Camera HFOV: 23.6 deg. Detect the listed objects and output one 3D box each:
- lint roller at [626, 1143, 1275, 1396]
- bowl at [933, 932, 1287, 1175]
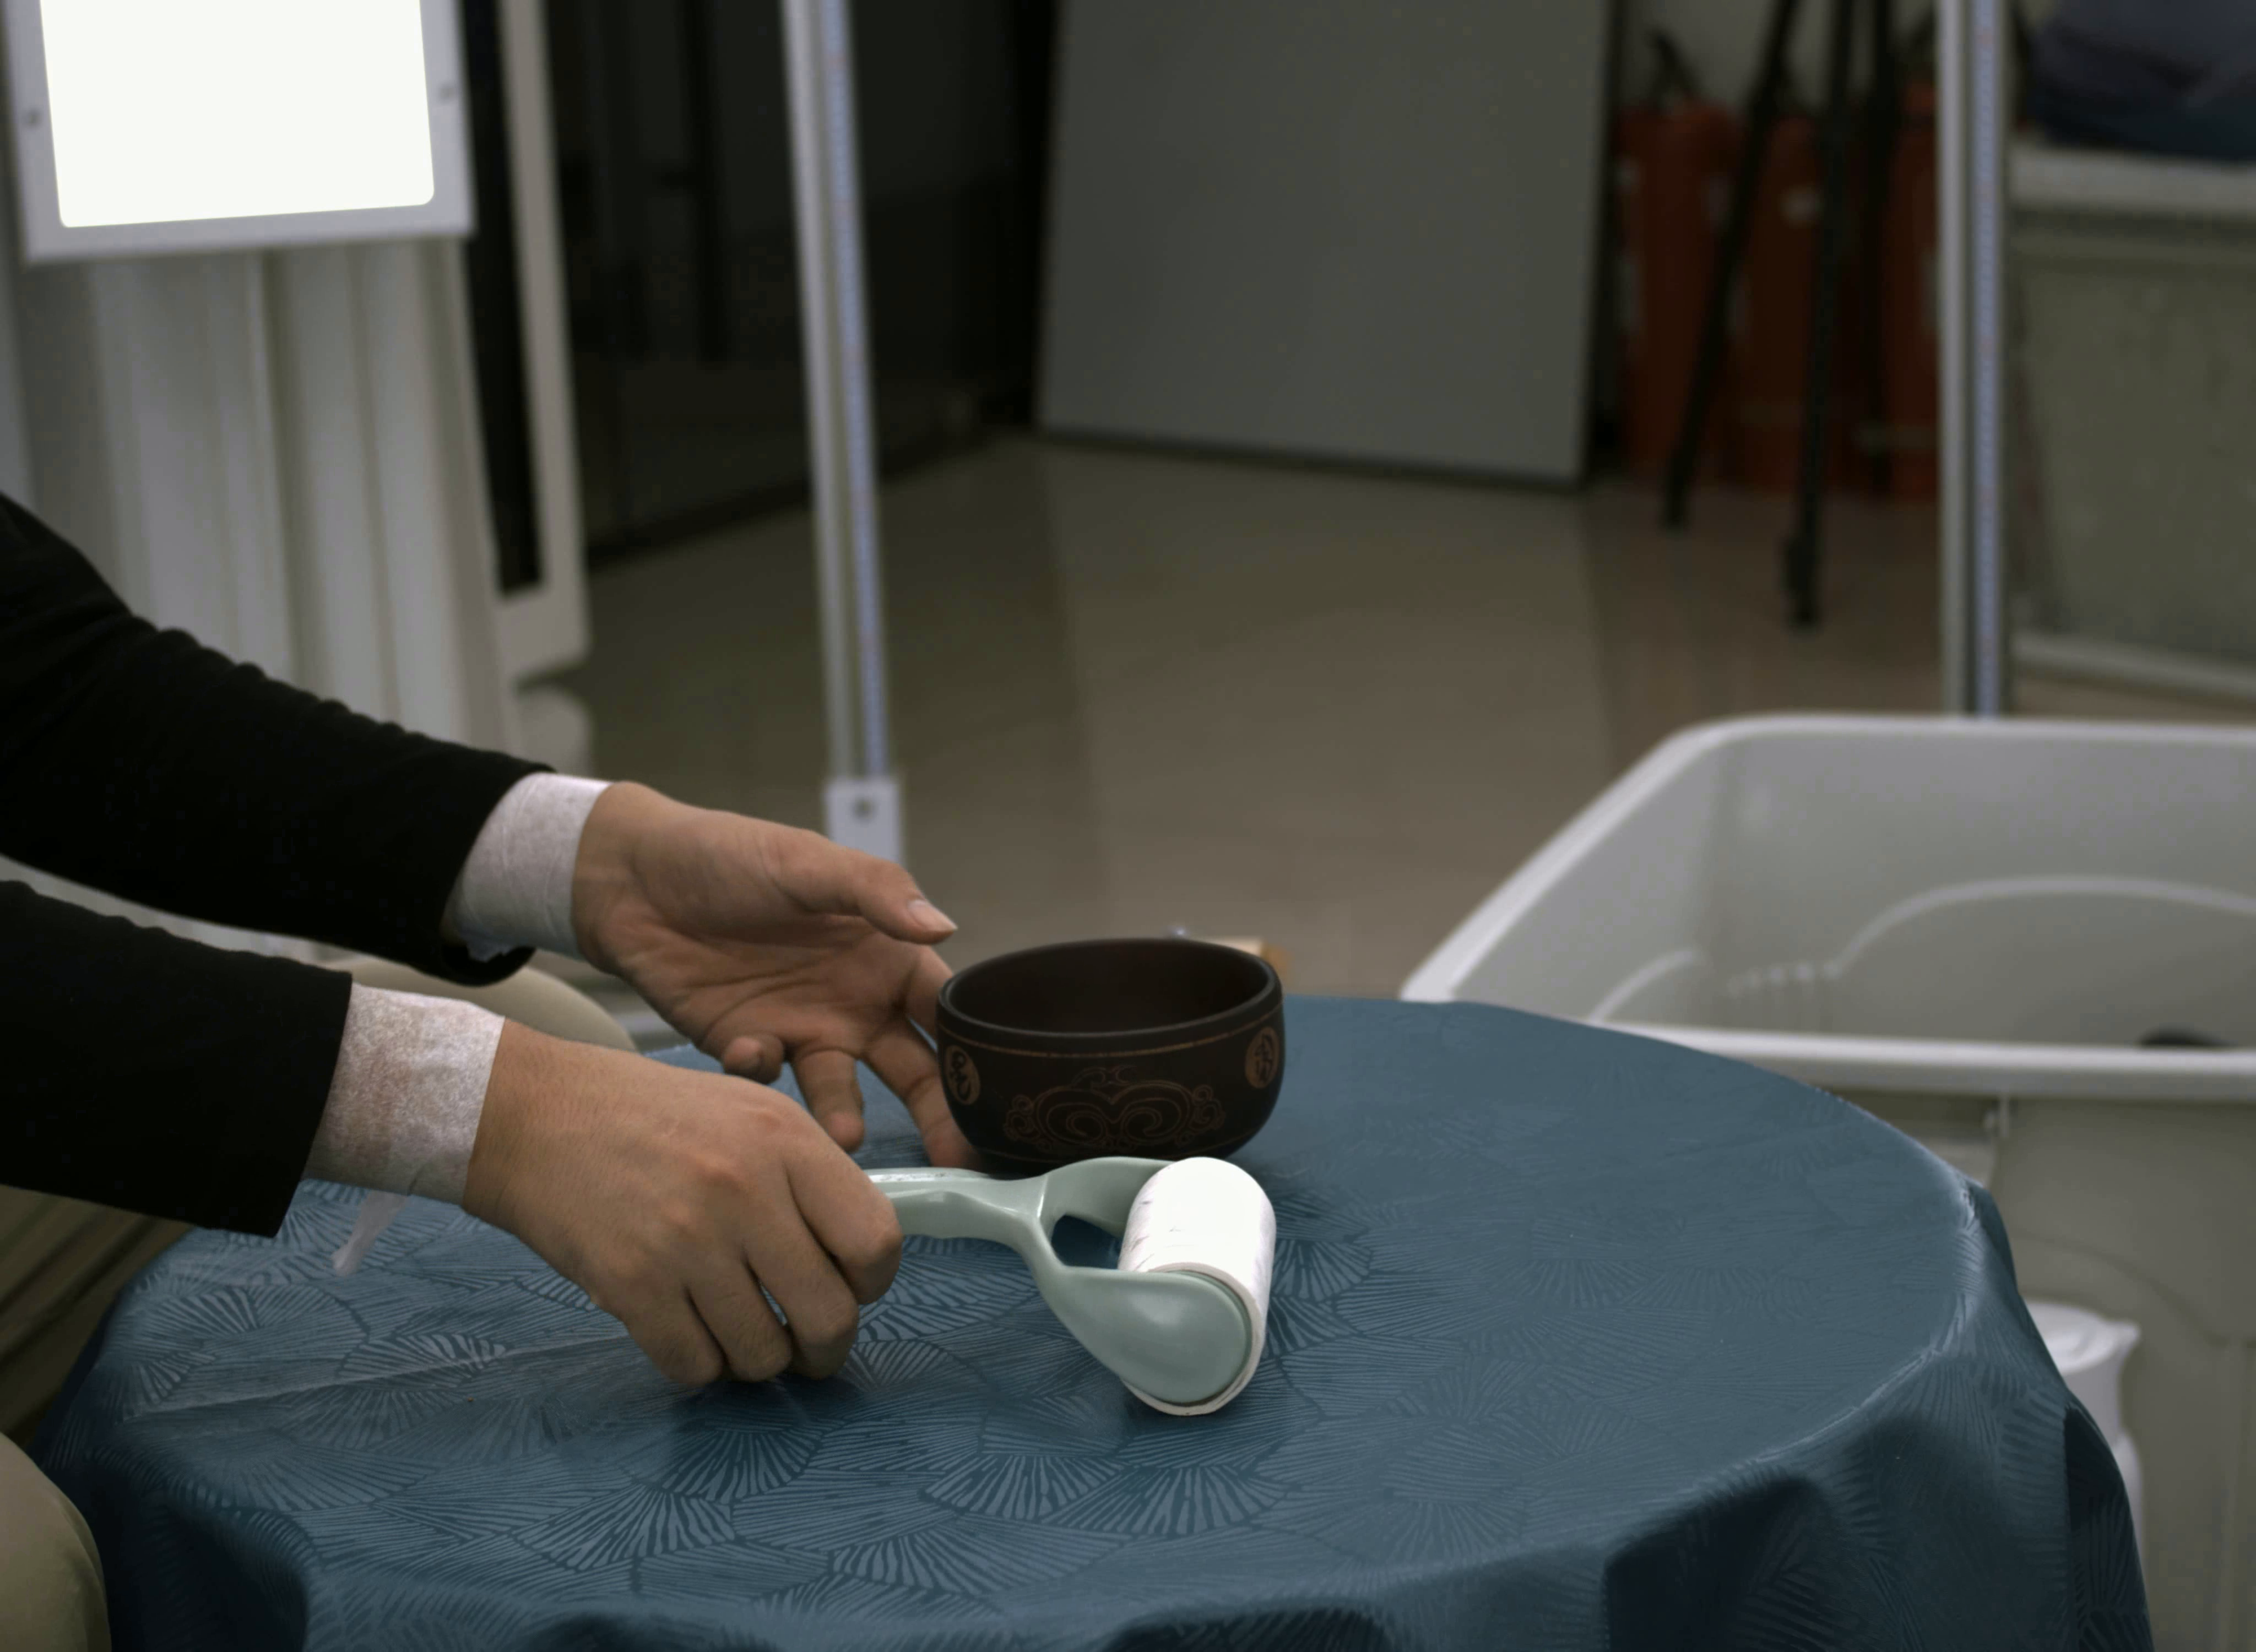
[{"bbox_3d":[-0.052,0.126,1.616,0.195,0.049,0.116,5,15,5],"label":"lint roller"},{"bbox_3d":[-0.004,0.084,1.772,0.116,0.070,0.118,-5,14,0],"label":"bowl"}]
